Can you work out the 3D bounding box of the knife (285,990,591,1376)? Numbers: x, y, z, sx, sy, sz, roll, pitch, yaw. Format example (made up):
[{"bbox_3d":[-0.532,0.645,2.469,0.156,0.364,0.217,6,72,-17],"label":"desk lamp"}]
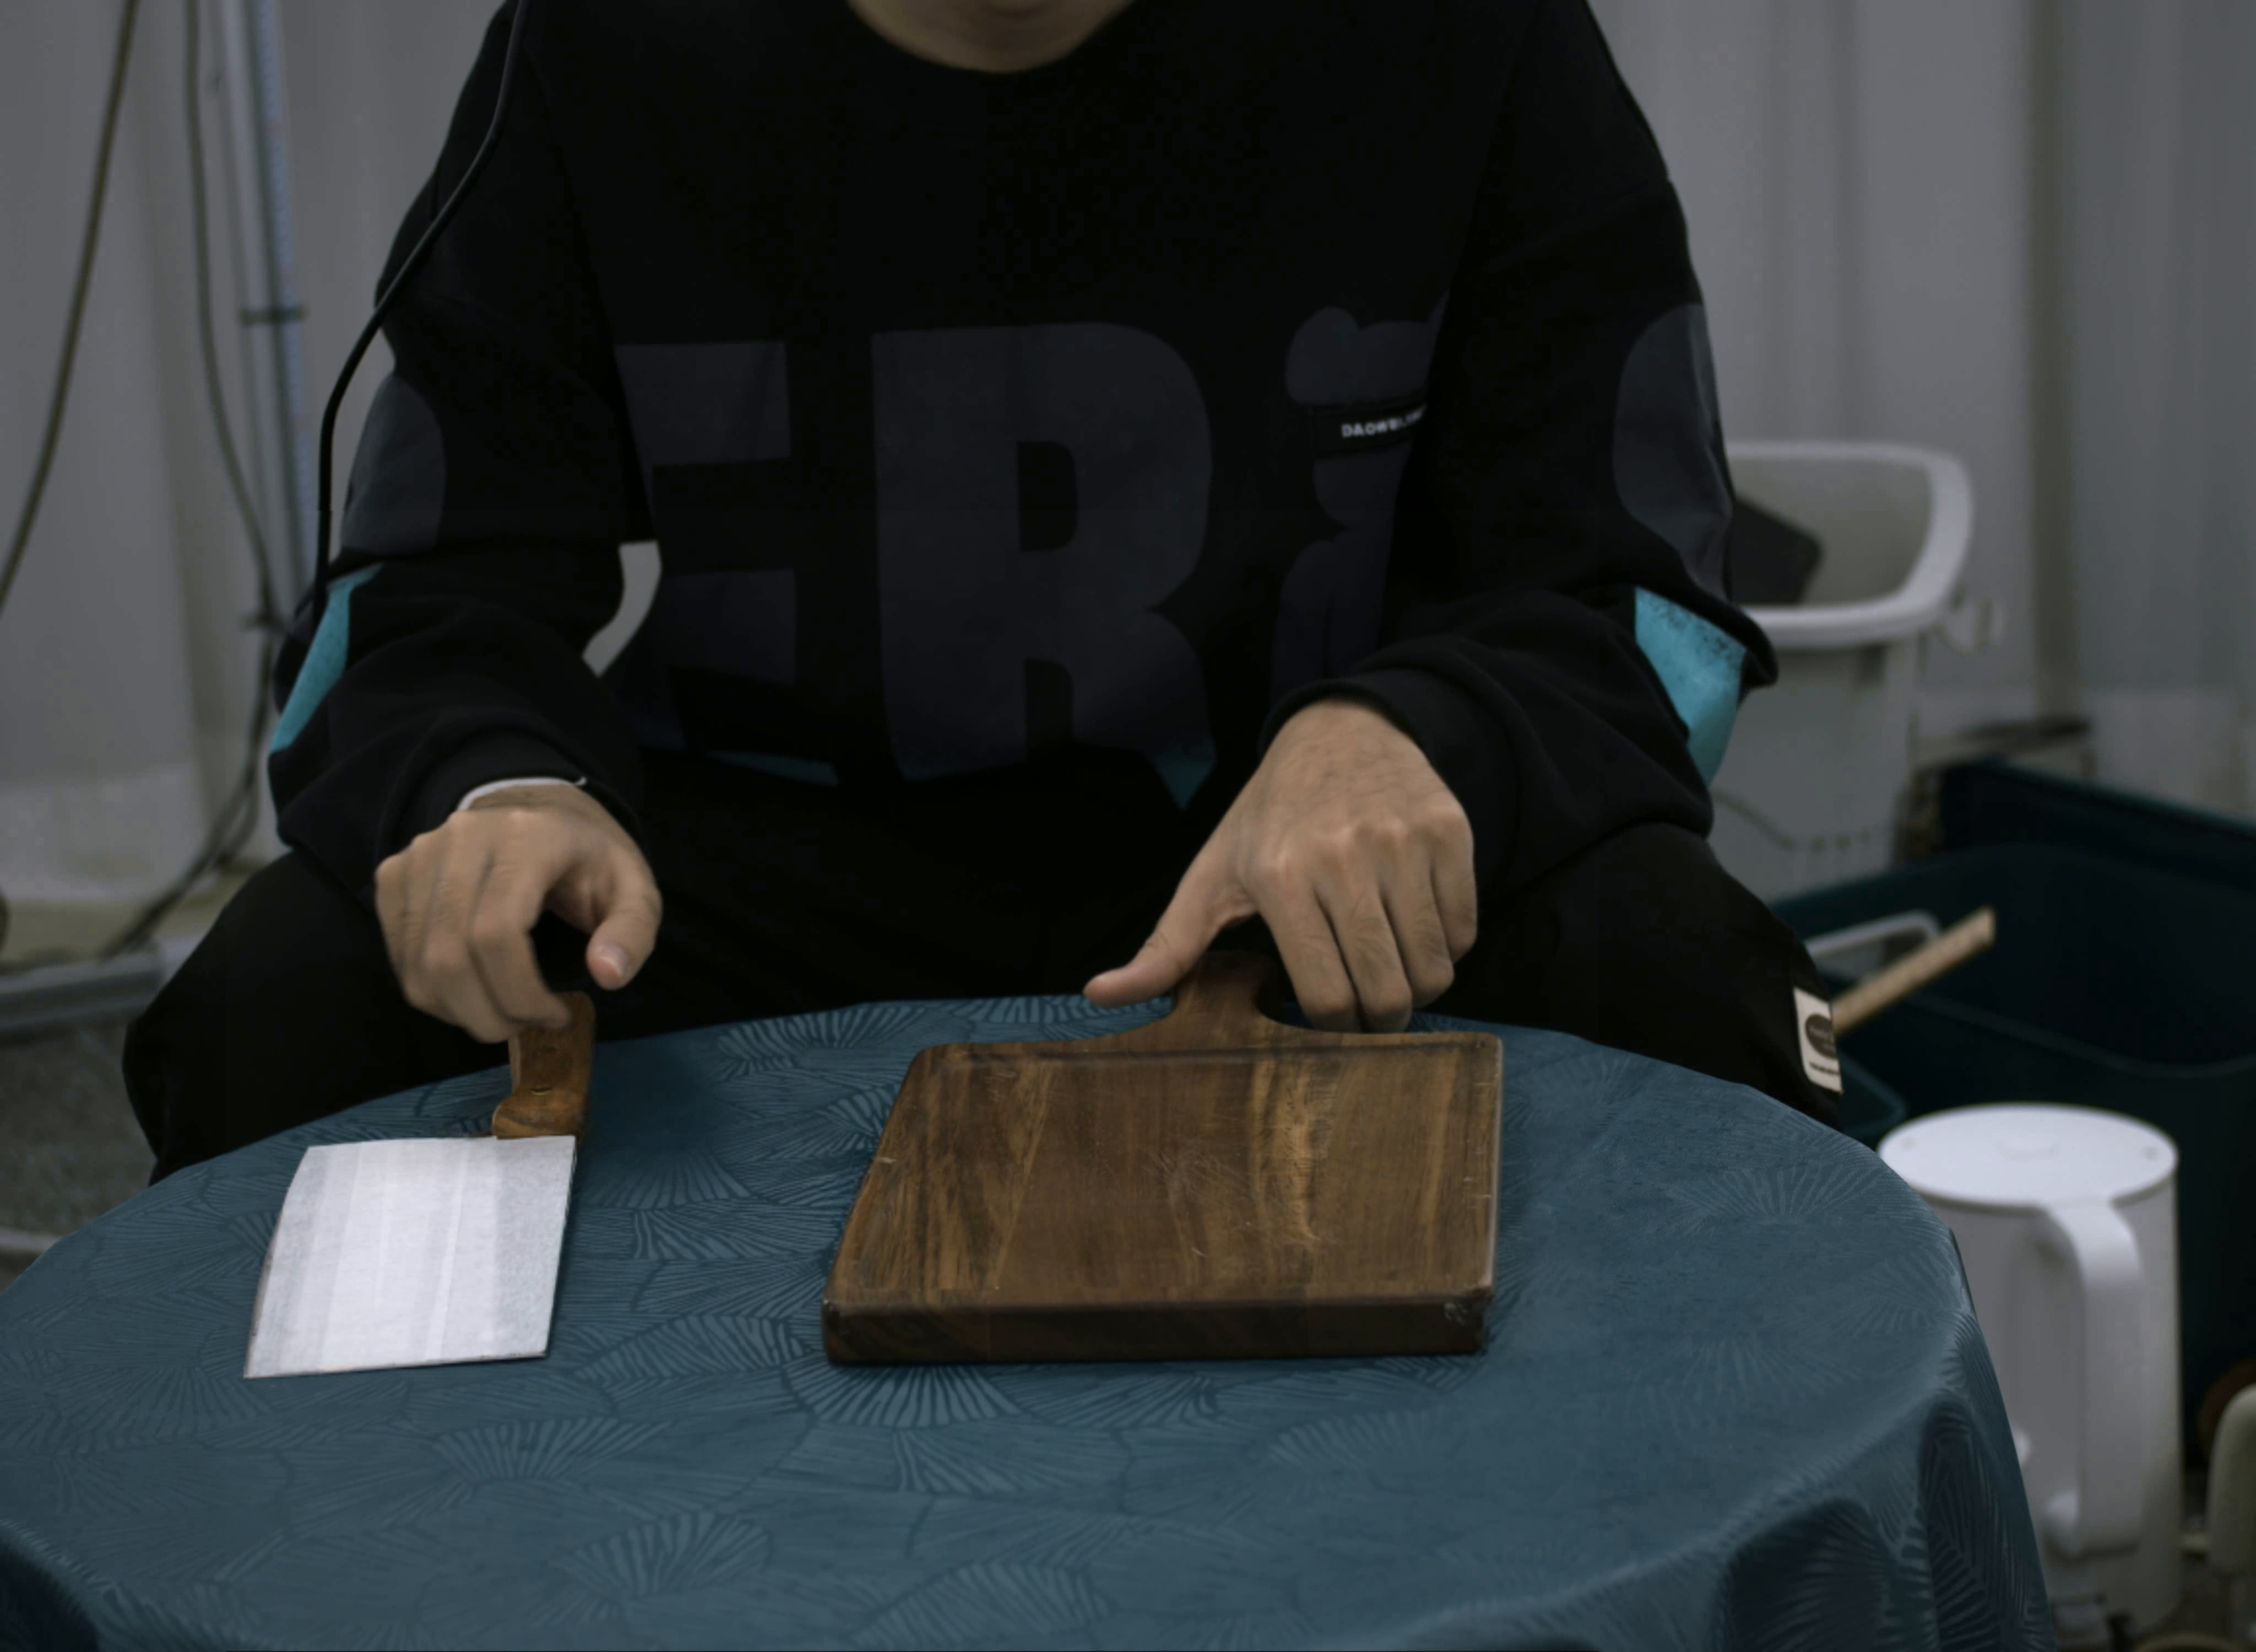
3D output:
[{"bbox_3d":[-0.219,0.112,1.739,0.092,0.021,0.308,-5,17,-1],"label":"knife"}]

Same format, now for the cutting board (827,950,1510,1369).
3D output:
[{"bbox_3d":[0.021,0.099,1.730,0.200,0.023,0.354,-2,15,5],"label":"cutting board"}]
